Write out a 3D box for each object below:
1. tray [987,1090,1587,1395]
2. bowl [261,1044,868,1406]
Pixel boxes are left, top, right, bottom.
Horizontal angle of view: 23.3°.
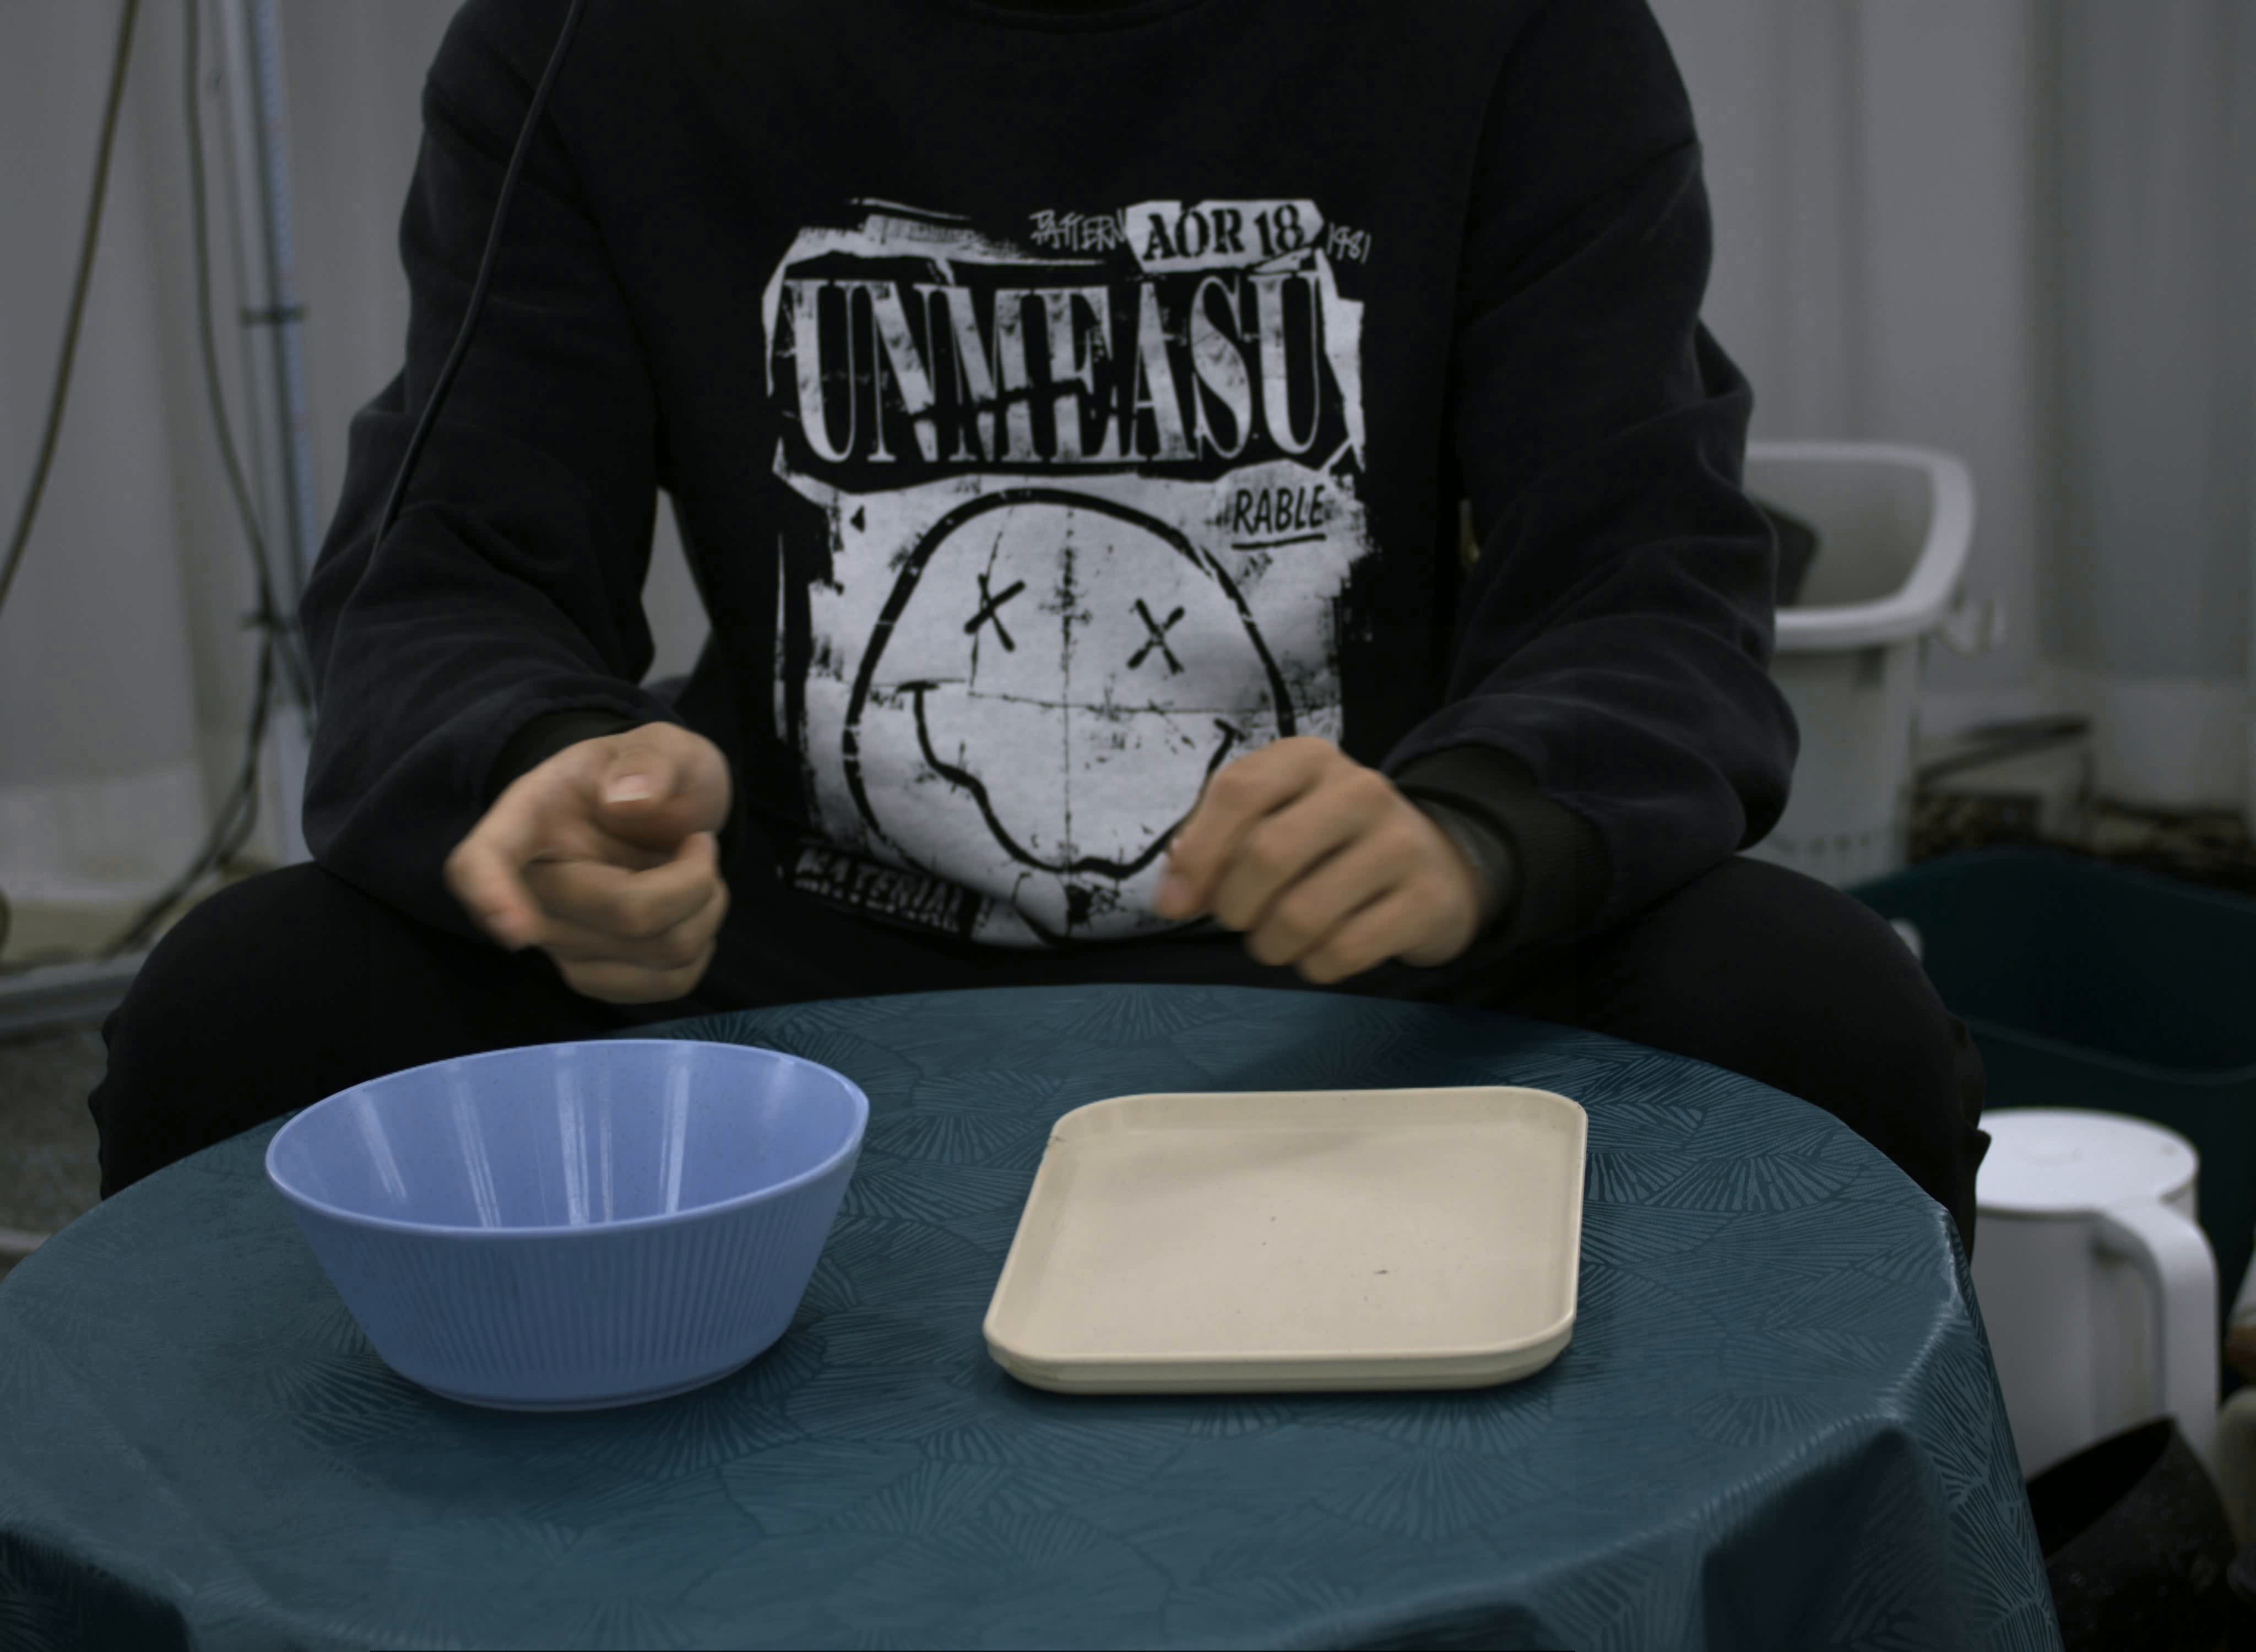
[{"bbox_3d":[0.052,0.124,1.637,0.171,0.017,0.241,-1,15,6],"label":"tray"},{"bbox_3d":[-0.162,0.119,1.594,0.175,0.070,0.177,-2,14,0],"label":"bowl"}]
